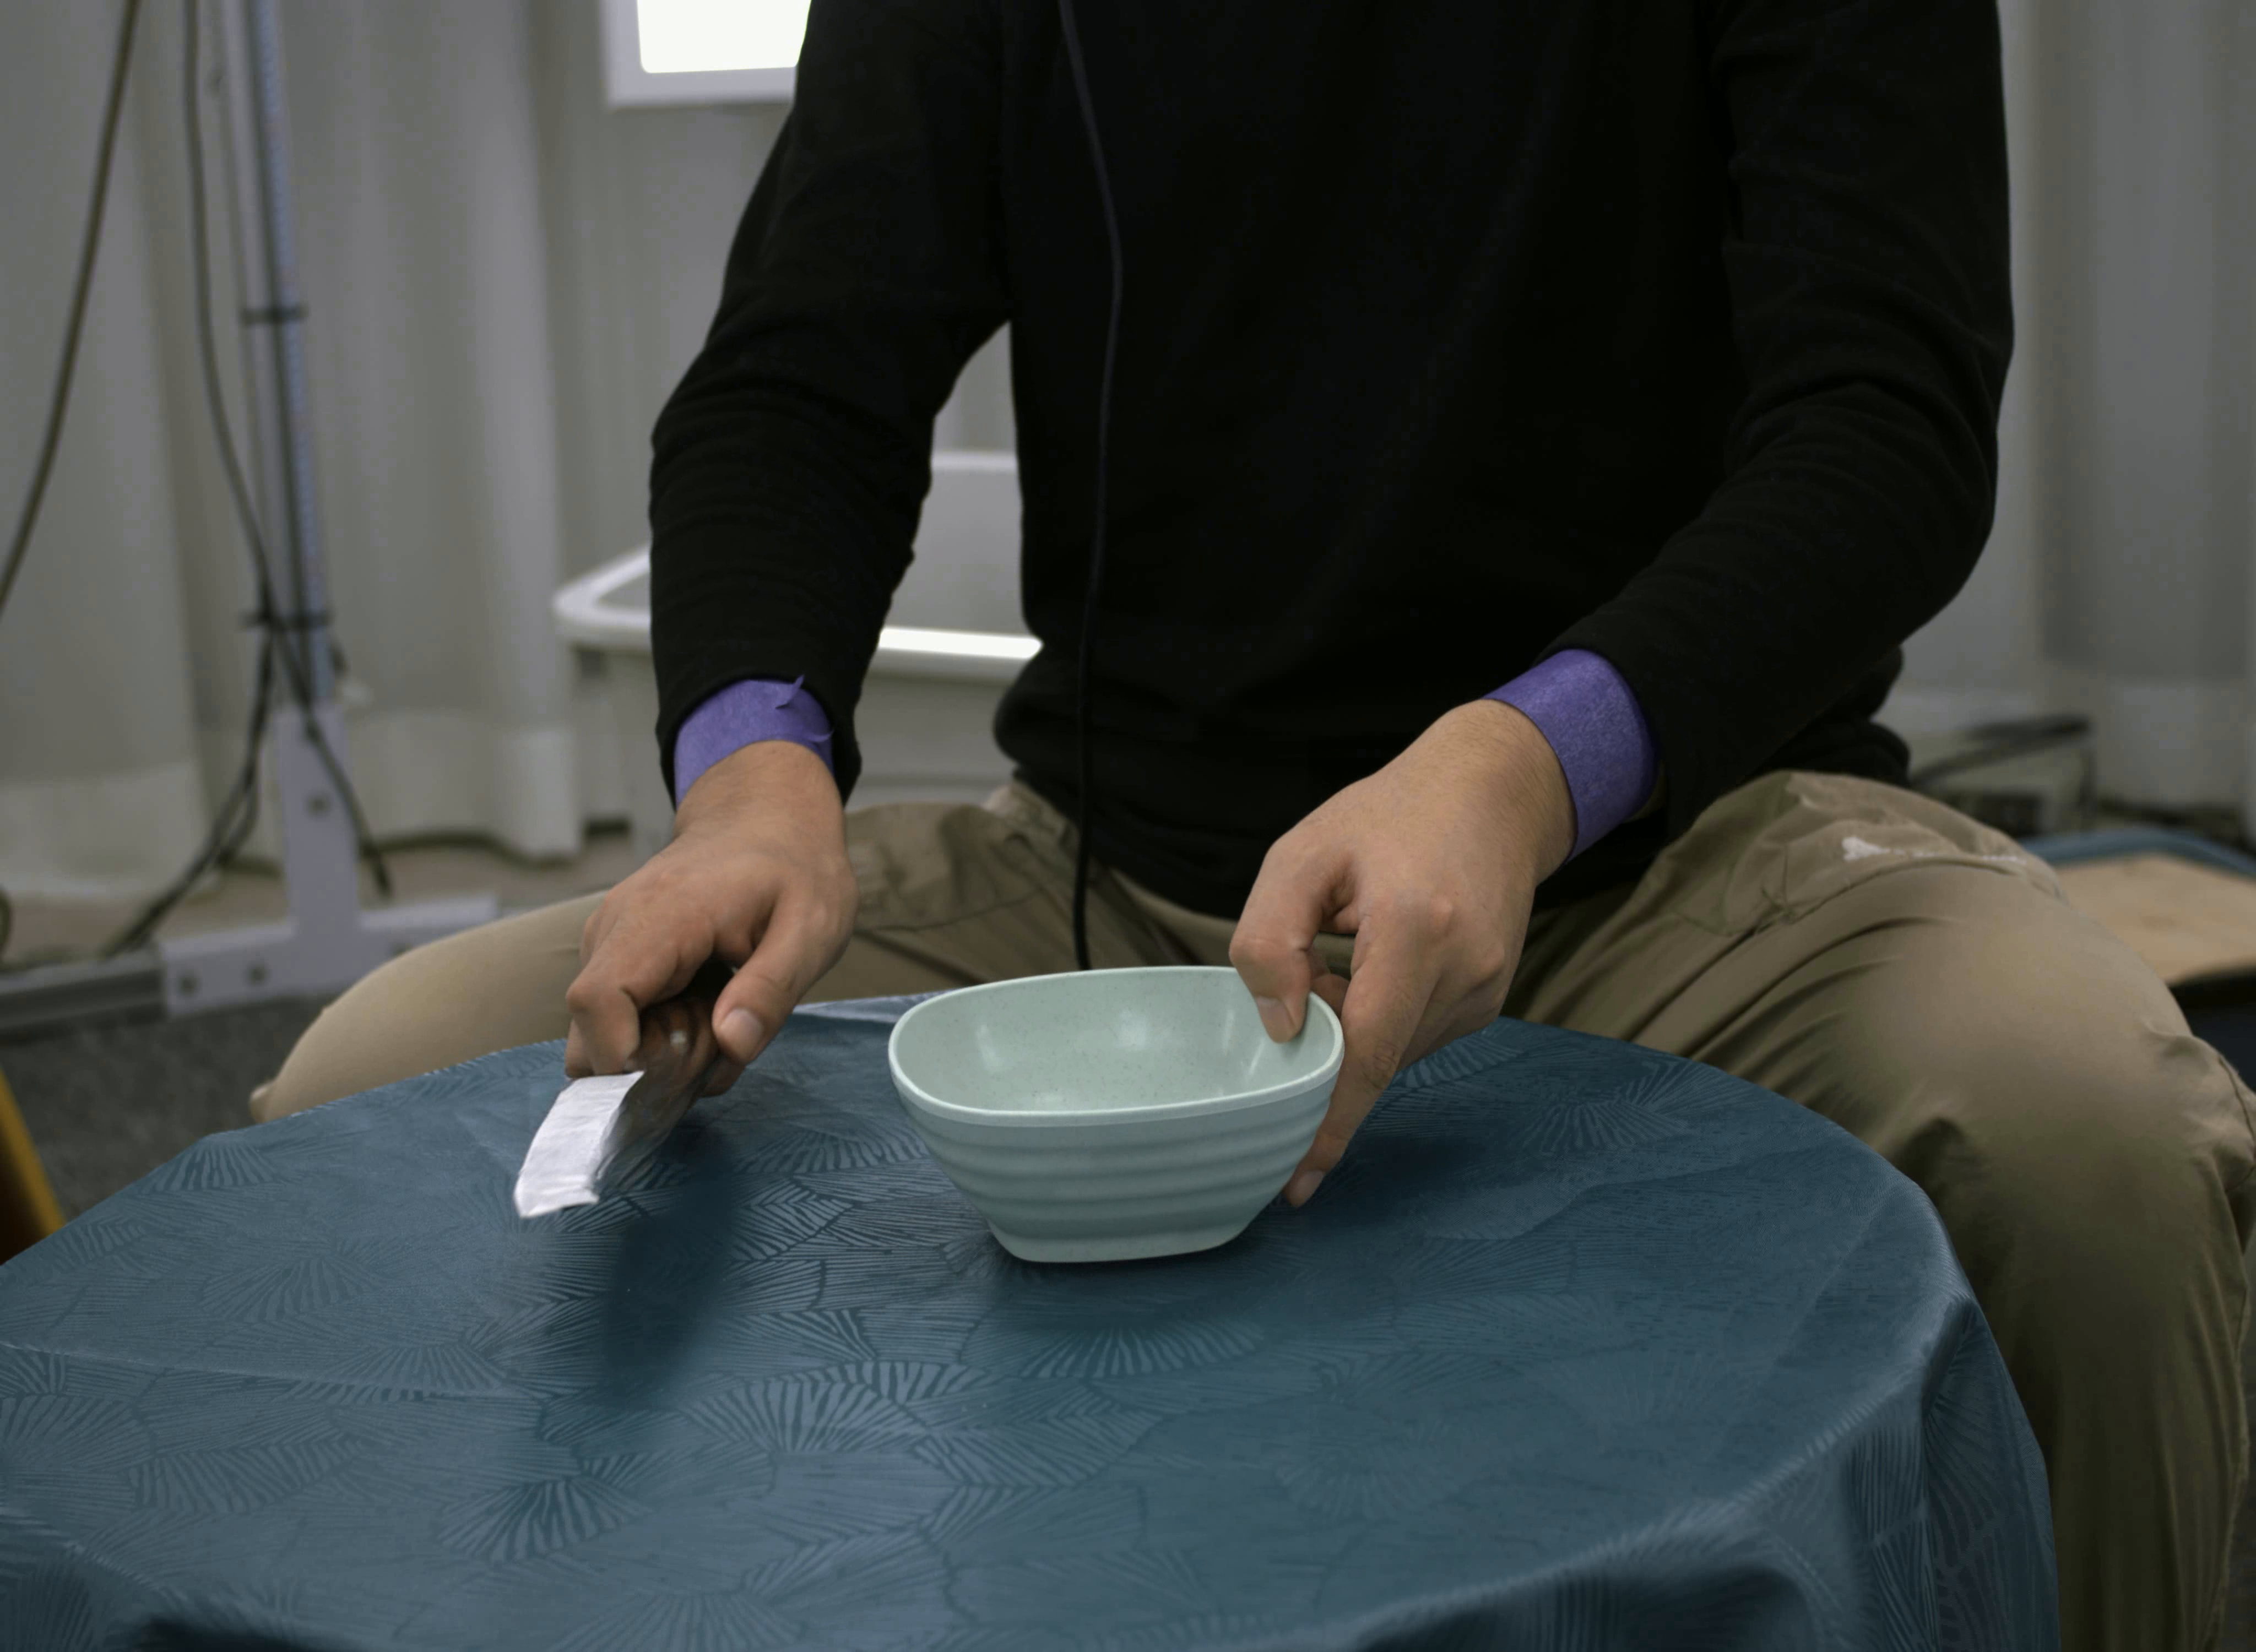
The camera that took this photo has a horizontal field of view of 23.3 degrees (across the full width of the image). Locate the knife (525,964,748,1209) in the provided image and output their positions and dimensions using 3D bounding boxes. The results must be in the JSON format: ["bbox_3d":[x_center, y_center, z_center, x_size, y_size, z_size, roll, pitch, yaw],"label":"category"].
[{"bbox_3d":[-0.151,0.082,1.702,0.050,0.020,0.290,-5,10,6],"label":"knife"}]

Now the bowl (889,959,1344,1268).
[{"bbox_3d":[-0.002,0.092,1.676,0.151,0.058,0.152,-3,18,1],"label":"bowl"}]
